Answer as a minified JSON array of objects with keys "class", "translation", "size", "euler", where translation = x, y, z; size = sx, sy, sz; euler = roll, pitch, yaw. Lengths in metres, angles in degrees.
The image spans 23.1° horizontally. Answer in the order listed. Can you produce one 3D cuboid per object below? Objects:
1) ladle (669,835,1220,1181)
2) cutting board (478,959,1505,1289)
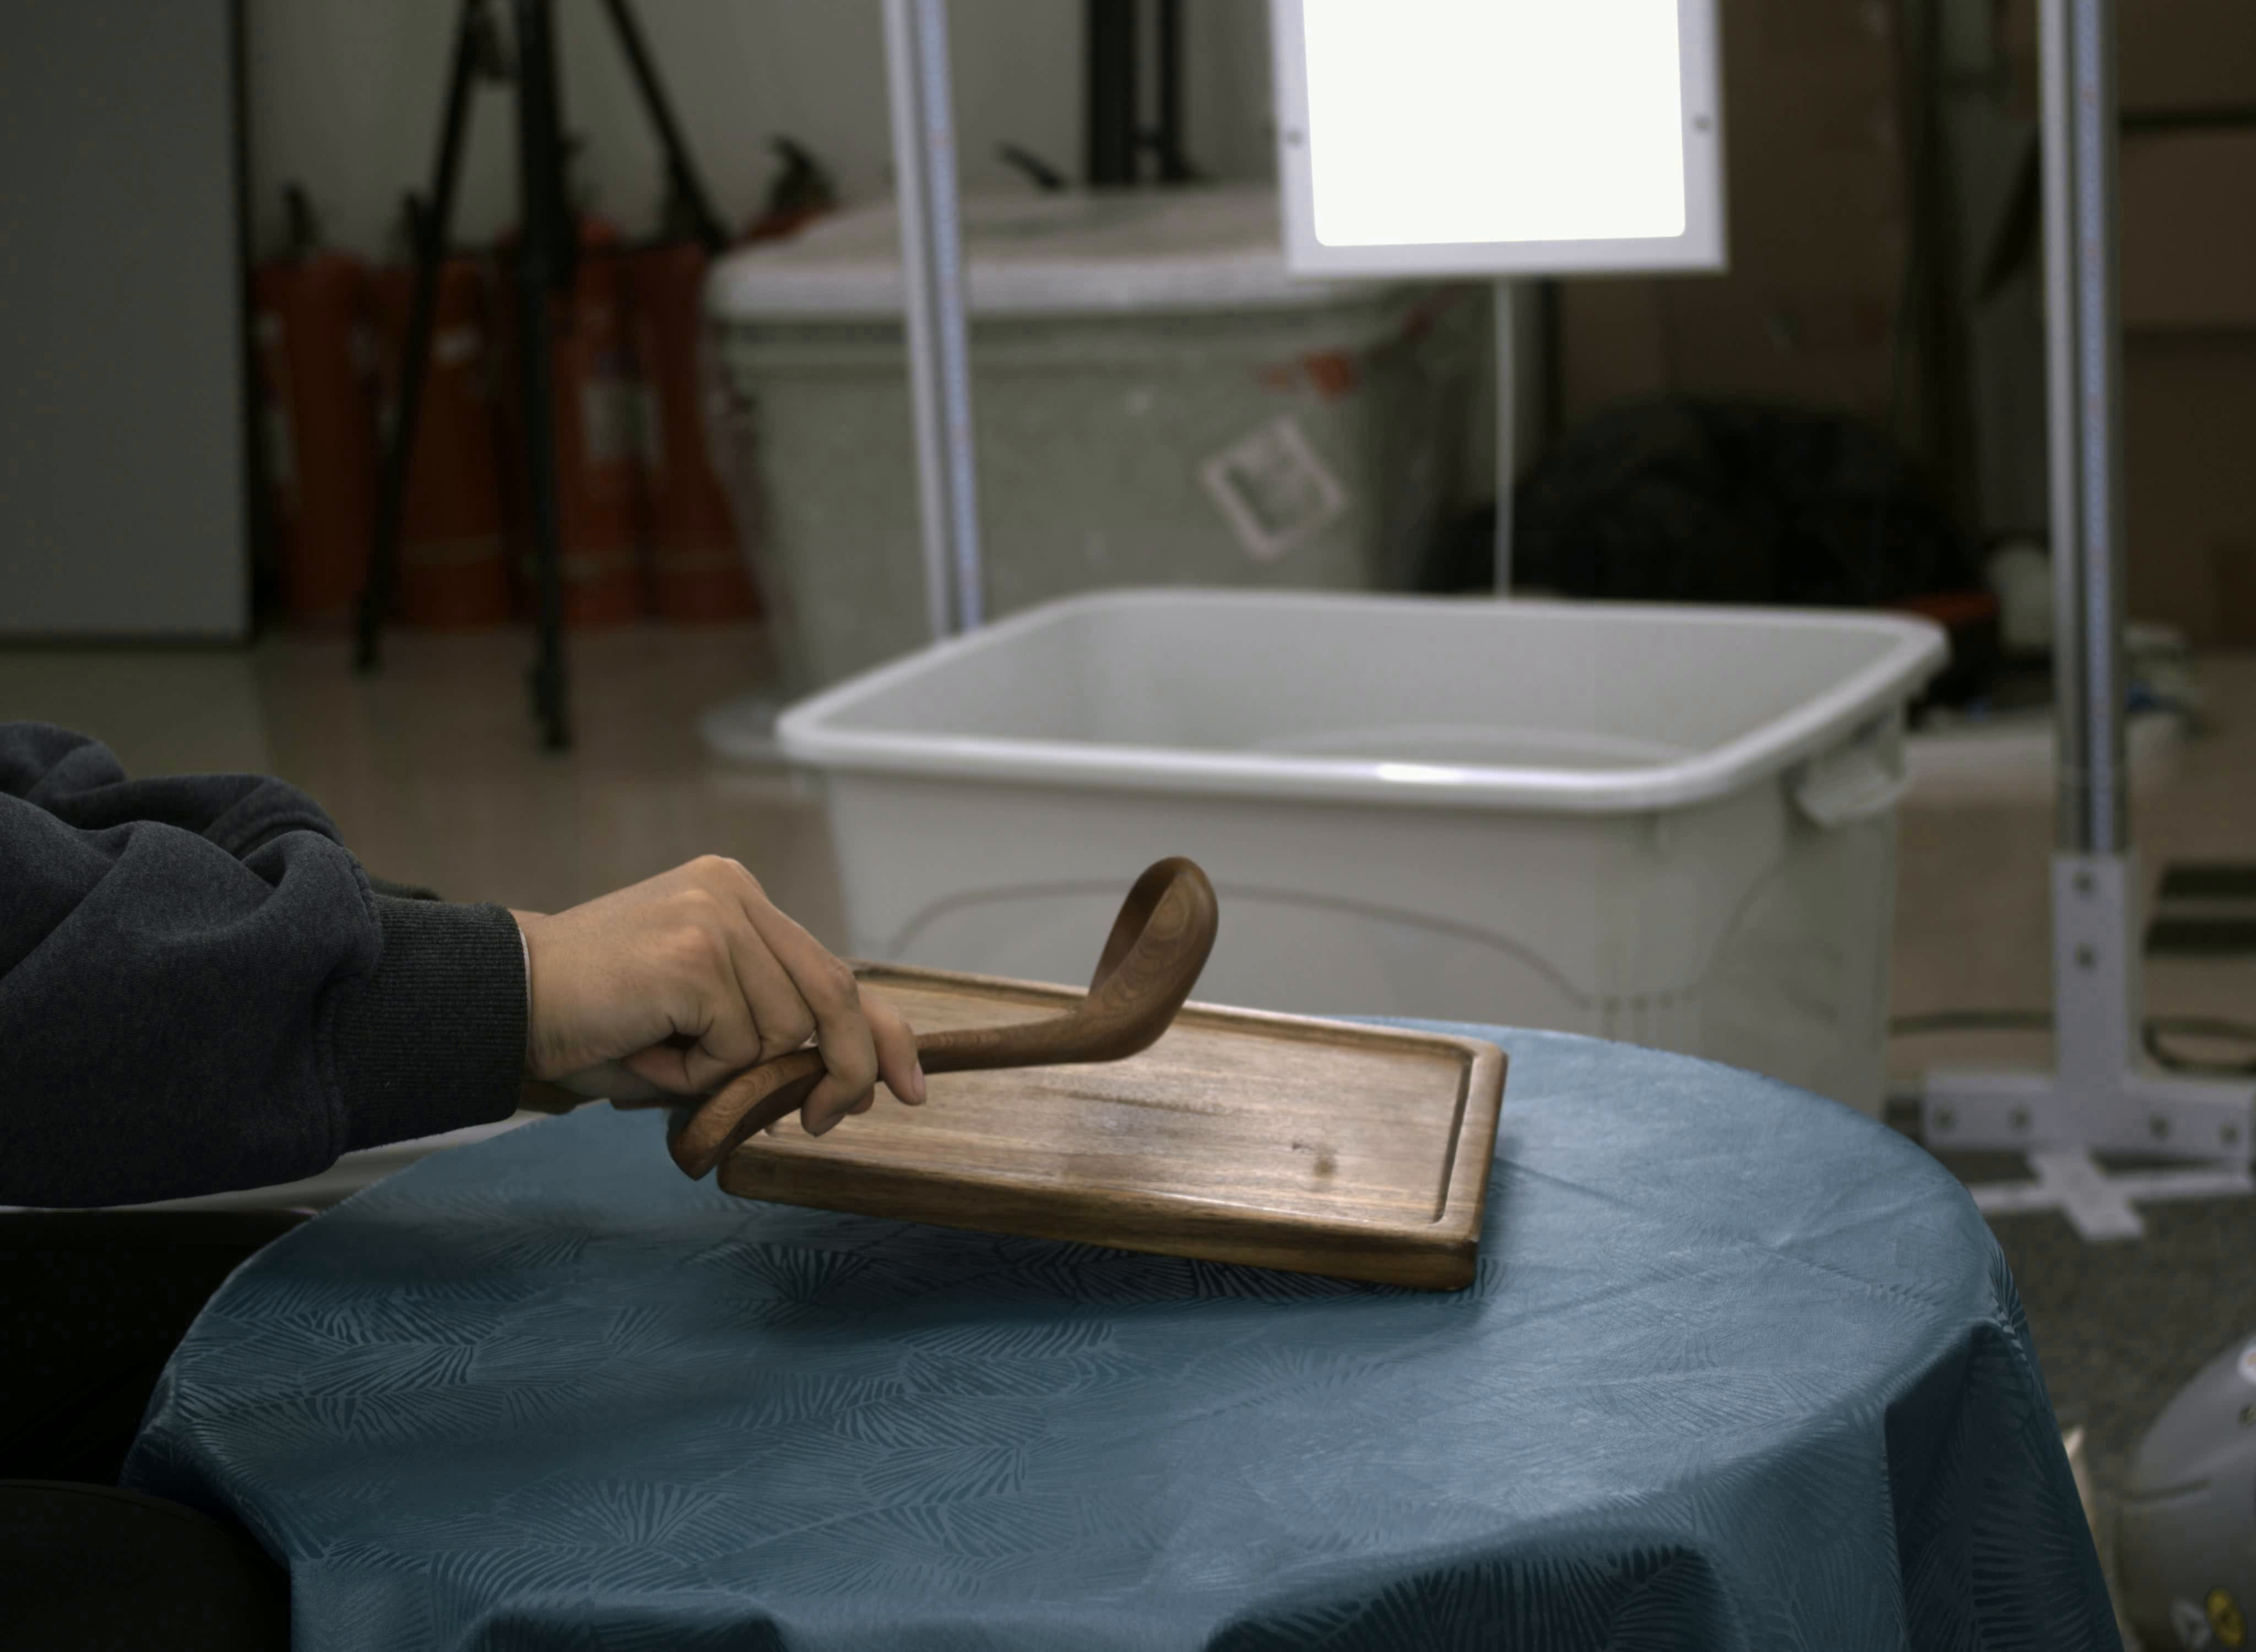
[{"class":"ladle","translation":[-0.063,0.060,1.772],"size":[0.253,0.077,0.066],"euler":[-15,51,-42]},{"class":"cutting board","translation":[-0.048,0.092,1.872],"size":[0.353,0.023,0.199],"euler":[7,17,7]}]
